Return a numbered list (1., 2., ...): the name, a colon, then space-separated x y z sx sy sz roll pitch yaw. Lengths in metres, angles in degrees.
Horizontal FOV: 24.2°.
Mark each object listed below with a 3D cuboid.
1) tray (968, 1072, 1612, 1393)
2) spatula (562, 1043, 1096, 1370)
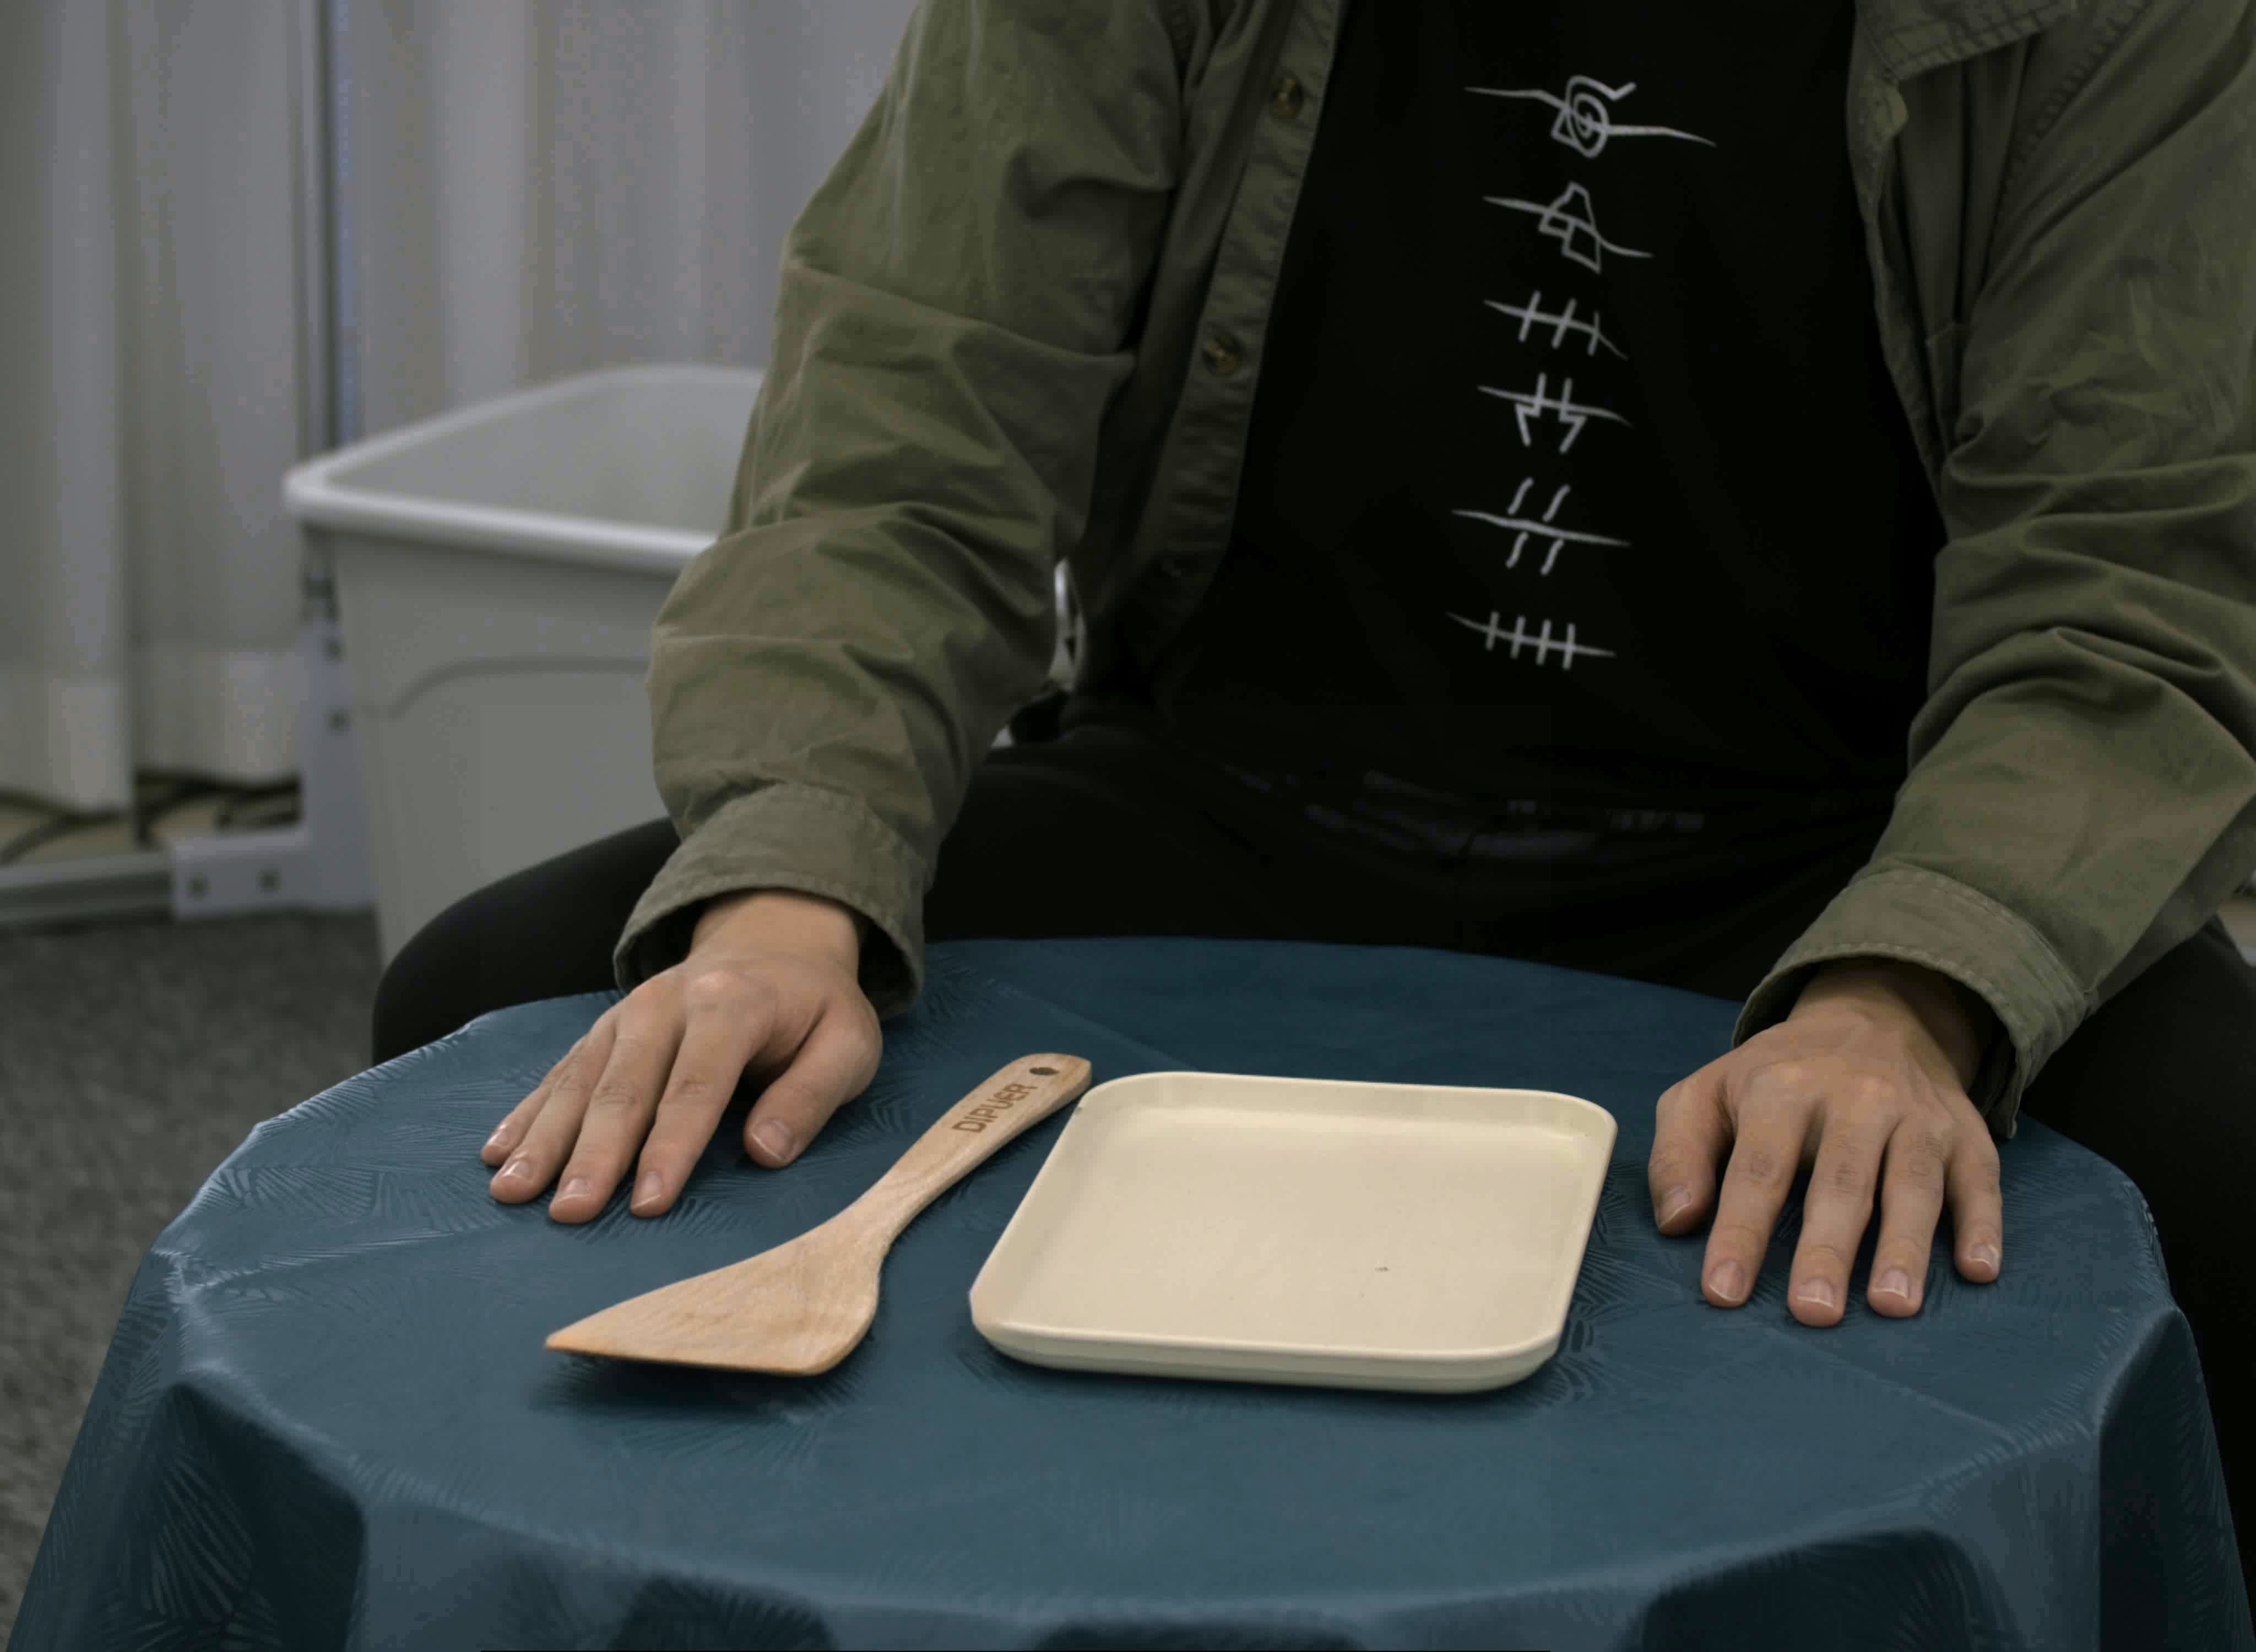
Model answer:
1. tray: 0.053 0.120 1.572 0.170 0.017 0.239 4 15 9
2. spatula: -0.071 0.112 1.598 0.079 0.016 0.328 6 17 18
